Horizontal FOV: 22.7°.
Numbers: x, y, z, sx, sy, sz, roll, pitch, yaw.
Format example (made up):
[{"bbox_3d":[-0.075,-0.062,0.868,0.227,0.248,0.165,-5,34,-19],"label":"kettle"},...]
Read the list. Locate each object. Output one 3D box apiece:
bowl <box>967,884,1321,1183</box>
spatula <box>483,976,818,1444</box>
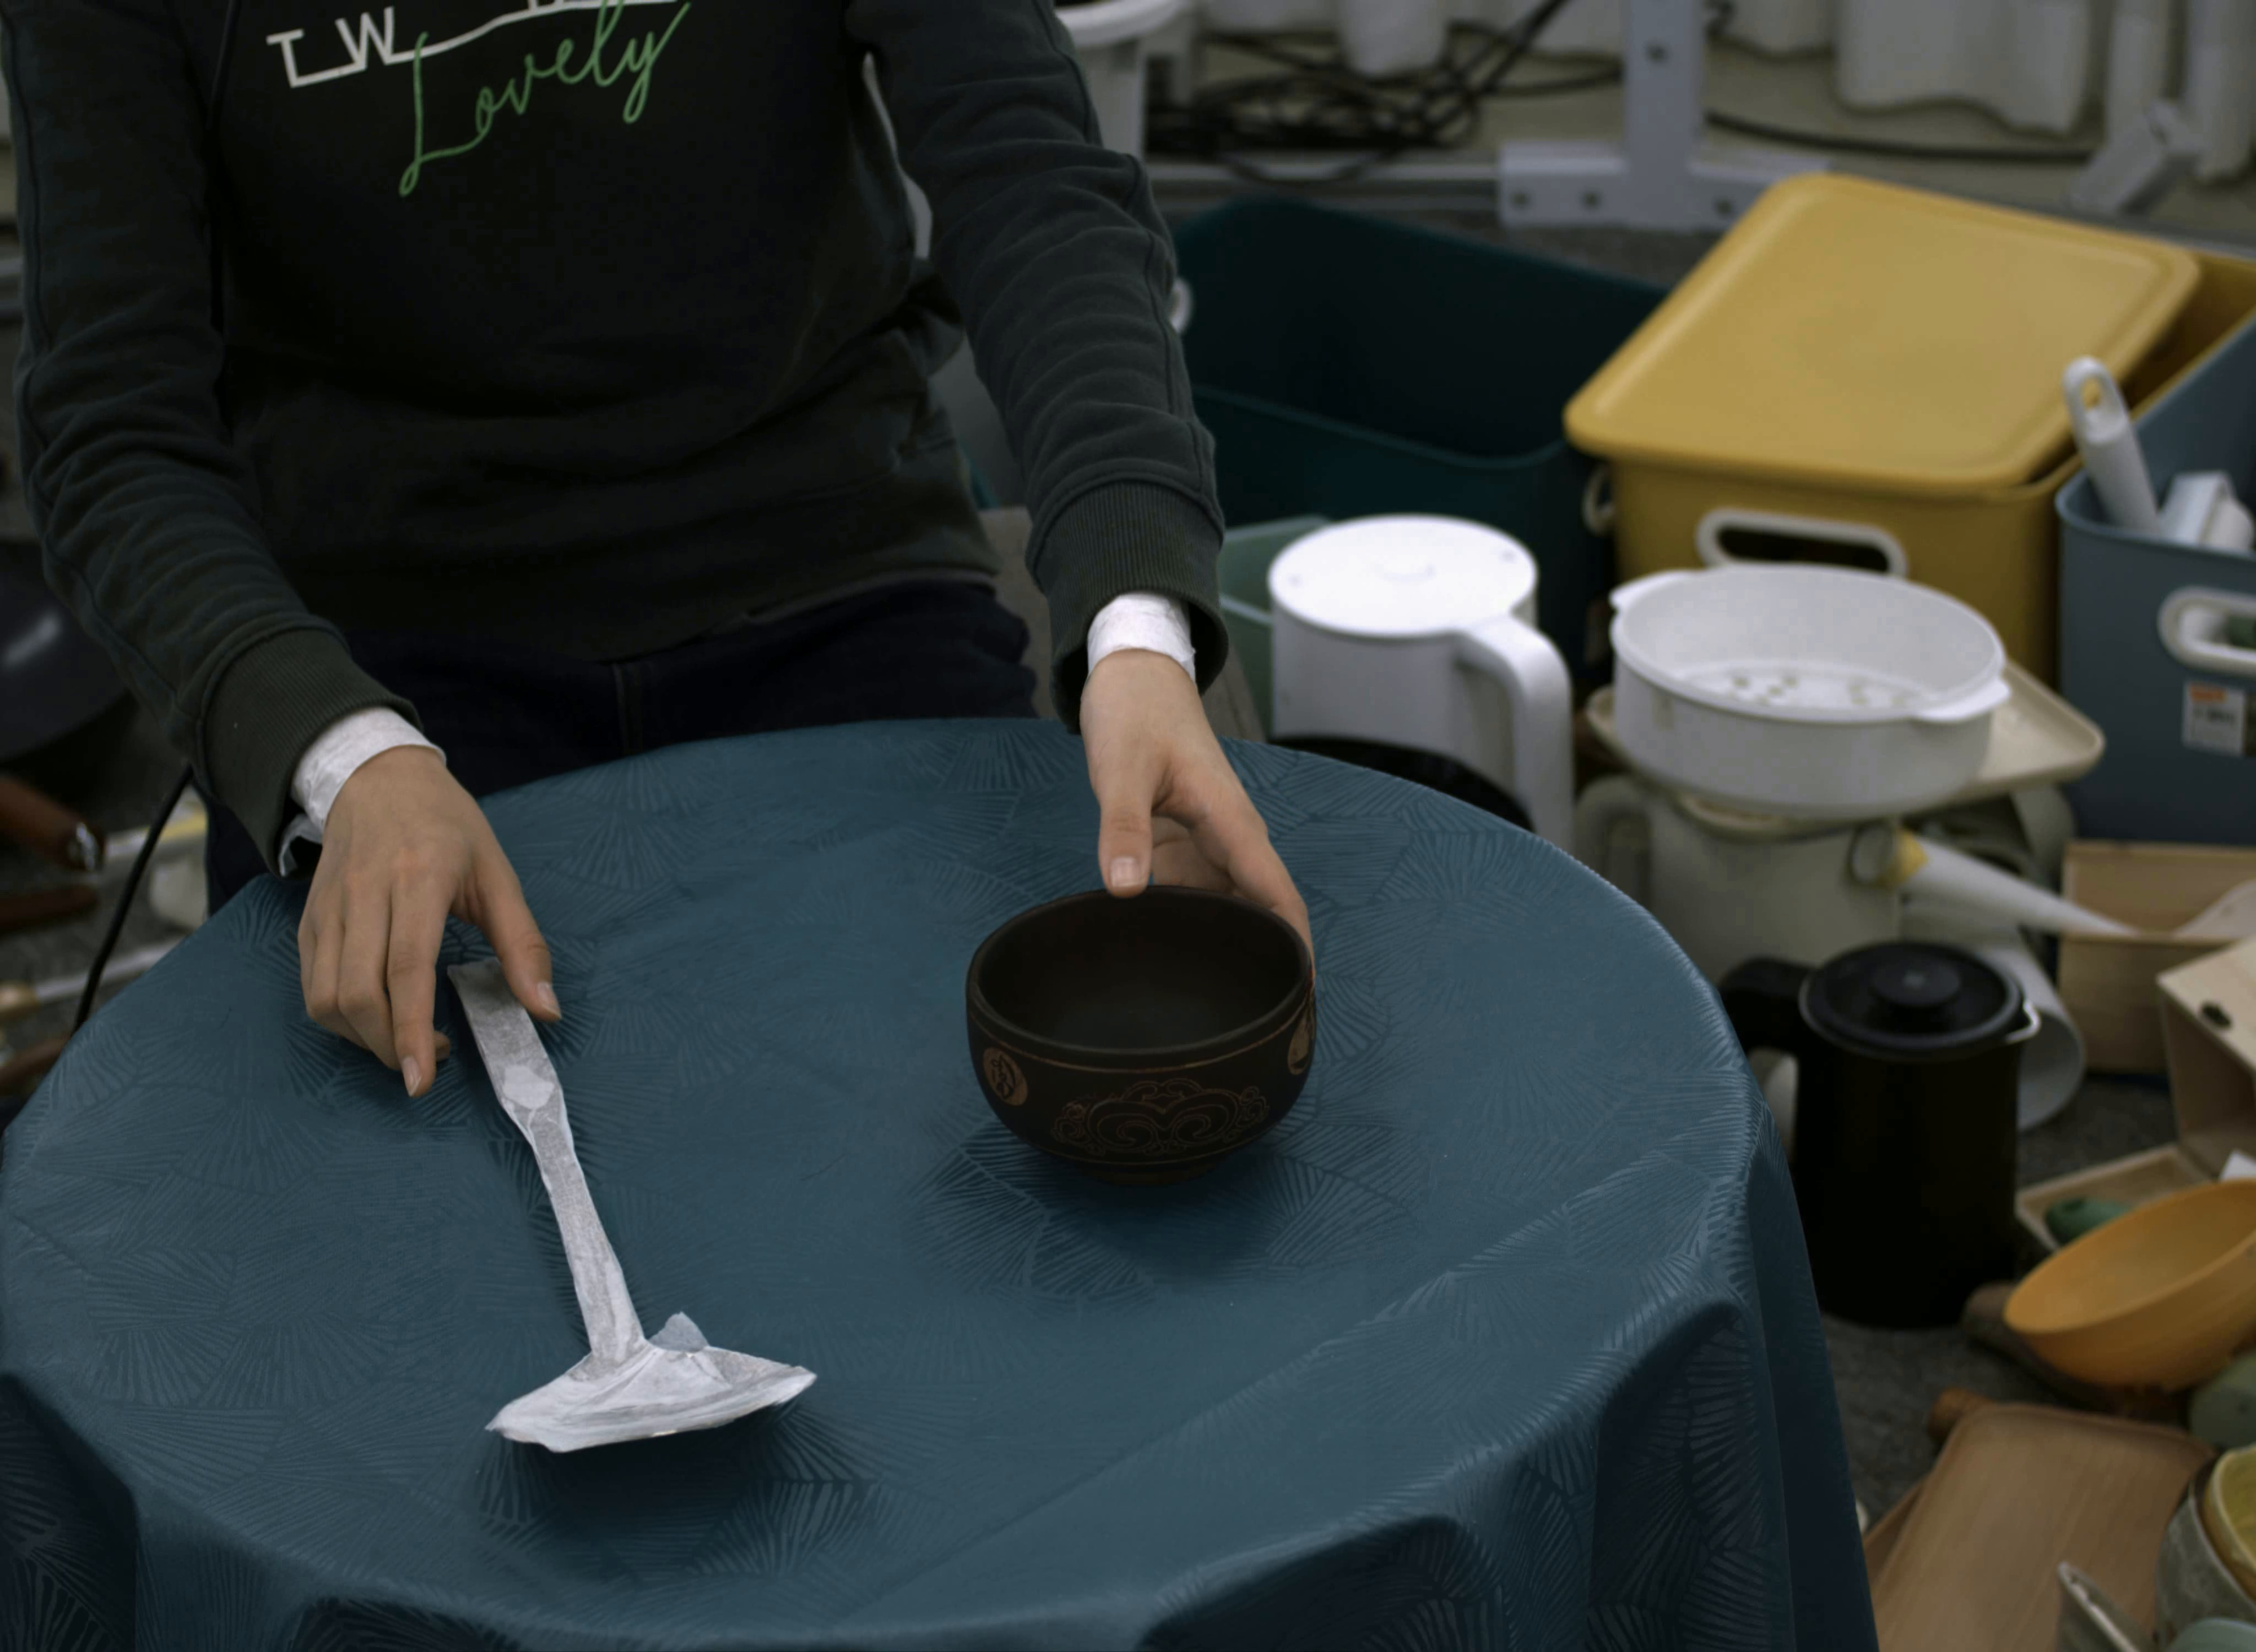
[{"bbox_3d":[0.006,0.076,1.873,0.117,0.069,0.120,-1,26,1],"label":"bowl"},{"bbox_3d":[-0.180,0.118,1.845,0.098,0.044,0.369,-11,28,-11],"label":"spatula"}]
